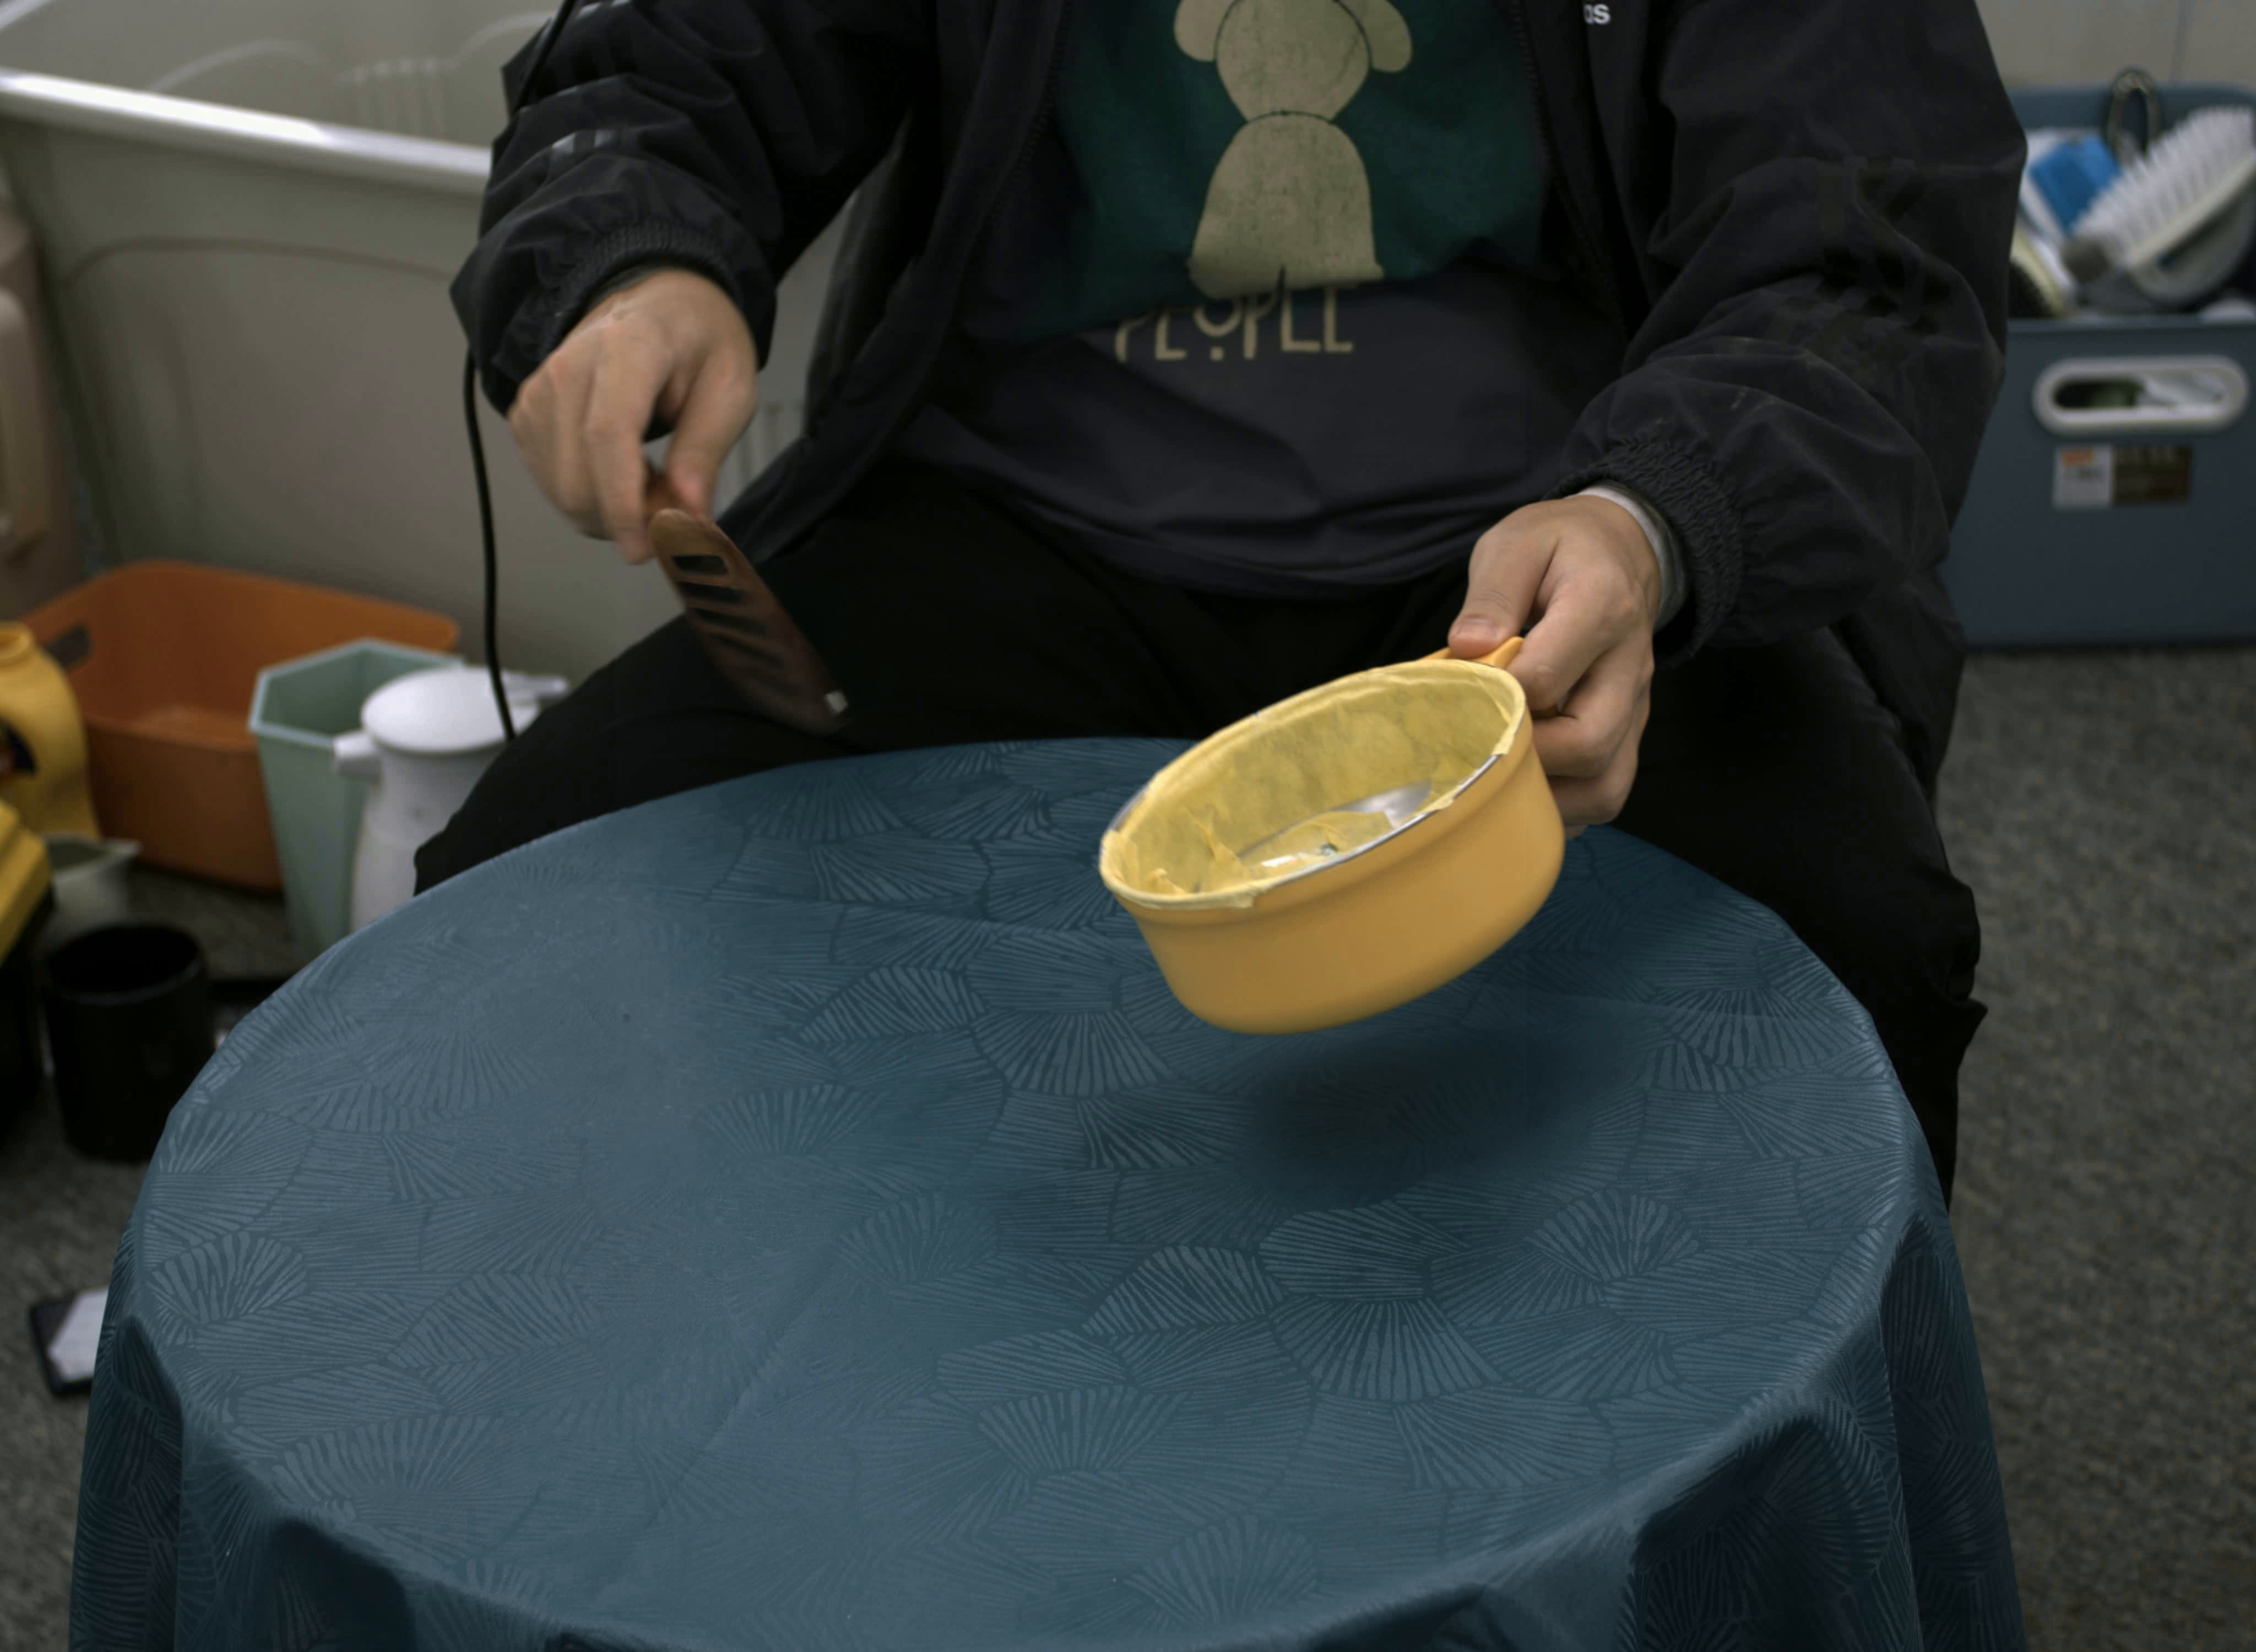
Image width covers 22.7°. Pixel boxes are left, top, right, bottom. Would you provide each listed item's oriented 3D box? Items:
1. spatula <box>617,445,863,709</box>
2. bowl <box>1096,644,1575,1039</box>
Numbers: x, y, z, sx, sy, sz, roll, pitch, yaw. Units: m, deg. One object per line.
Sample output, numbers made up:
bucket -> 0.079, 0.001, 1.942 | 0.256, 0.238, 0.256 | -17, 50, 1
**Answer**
spatula -> -0.151, -0.099, 1.984 | 0.024, 0.085, 0.388 | -40, 16, -1
bowl -> 0.081, 0.005, 1.873 | 0.151, 0.074, 0.182 | -4, 29, 43
